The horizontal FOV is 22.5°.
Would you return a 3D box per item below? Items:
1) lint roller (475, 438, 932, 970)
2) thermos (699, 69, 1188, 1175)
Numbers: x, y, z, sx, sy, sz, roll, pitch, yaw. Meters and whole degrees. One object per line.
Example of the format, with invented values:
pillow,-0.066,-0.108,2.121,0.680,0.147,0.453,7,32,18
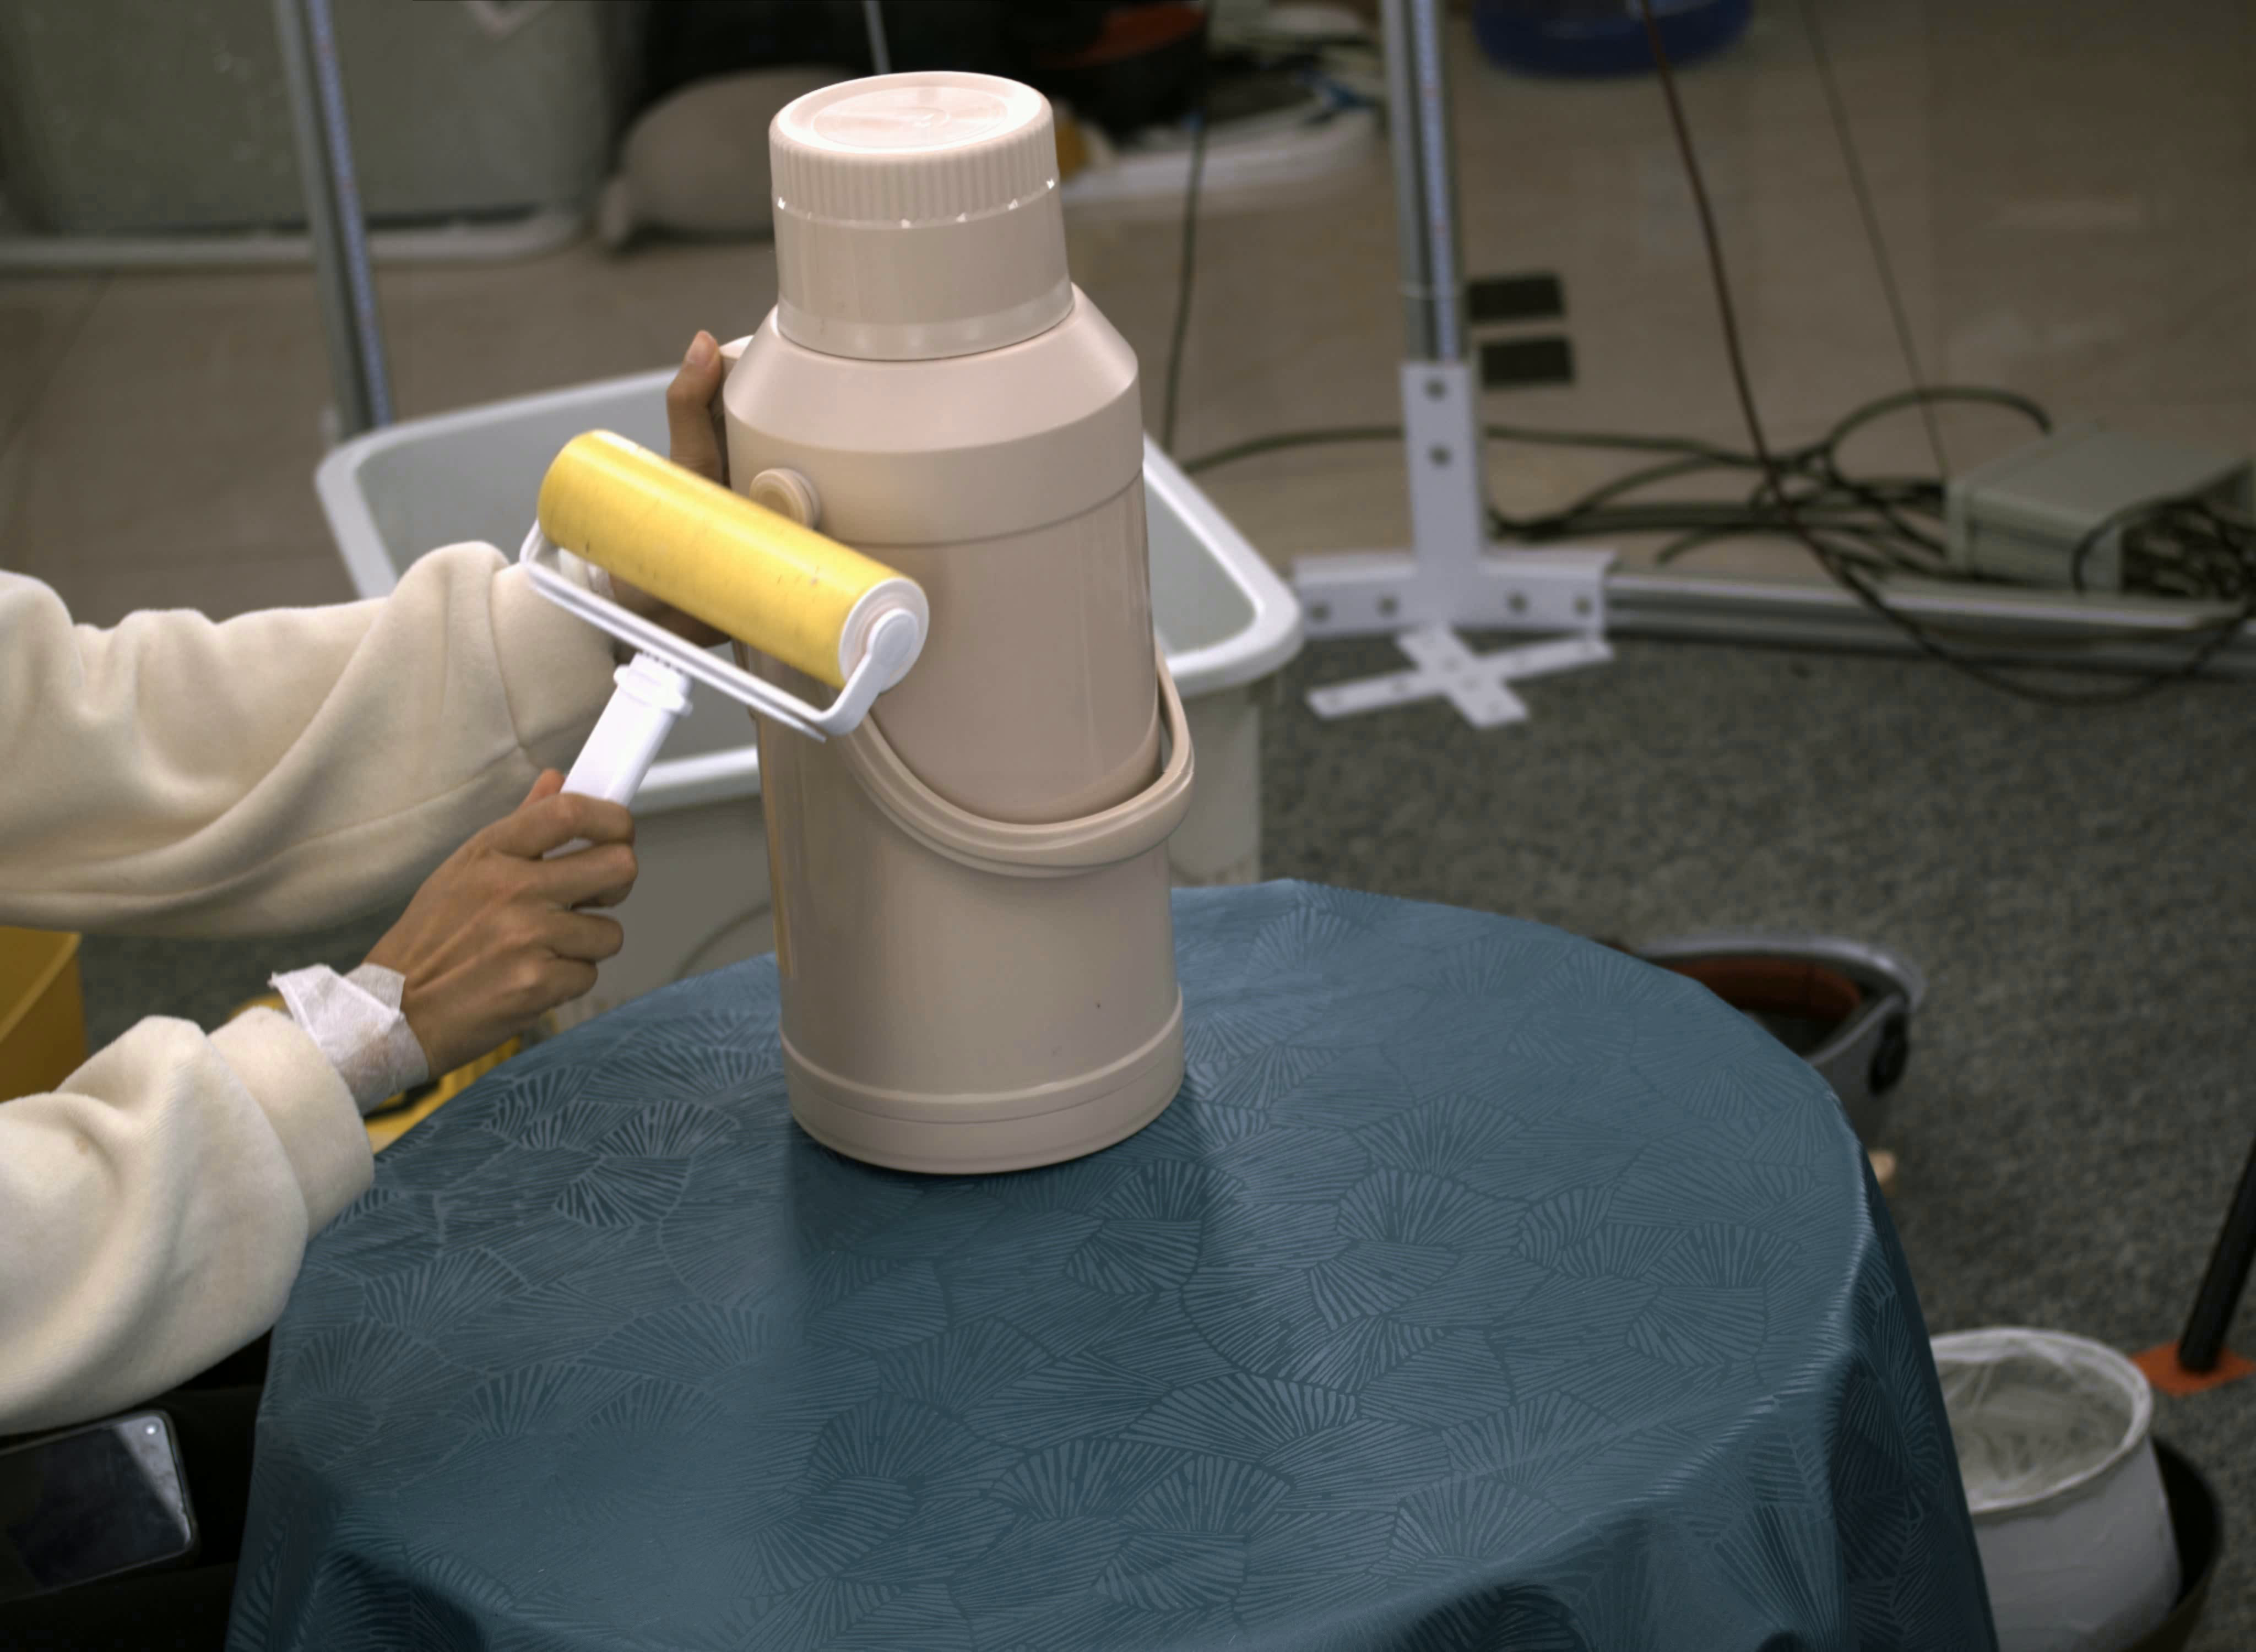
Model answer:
lint roller,-0.182,-0.037,2.037,0.172,0.052,0.191,26,74,37
thermos,-0.077,-0.082,2.156,0.205,0.413,0.173,17,34,37
